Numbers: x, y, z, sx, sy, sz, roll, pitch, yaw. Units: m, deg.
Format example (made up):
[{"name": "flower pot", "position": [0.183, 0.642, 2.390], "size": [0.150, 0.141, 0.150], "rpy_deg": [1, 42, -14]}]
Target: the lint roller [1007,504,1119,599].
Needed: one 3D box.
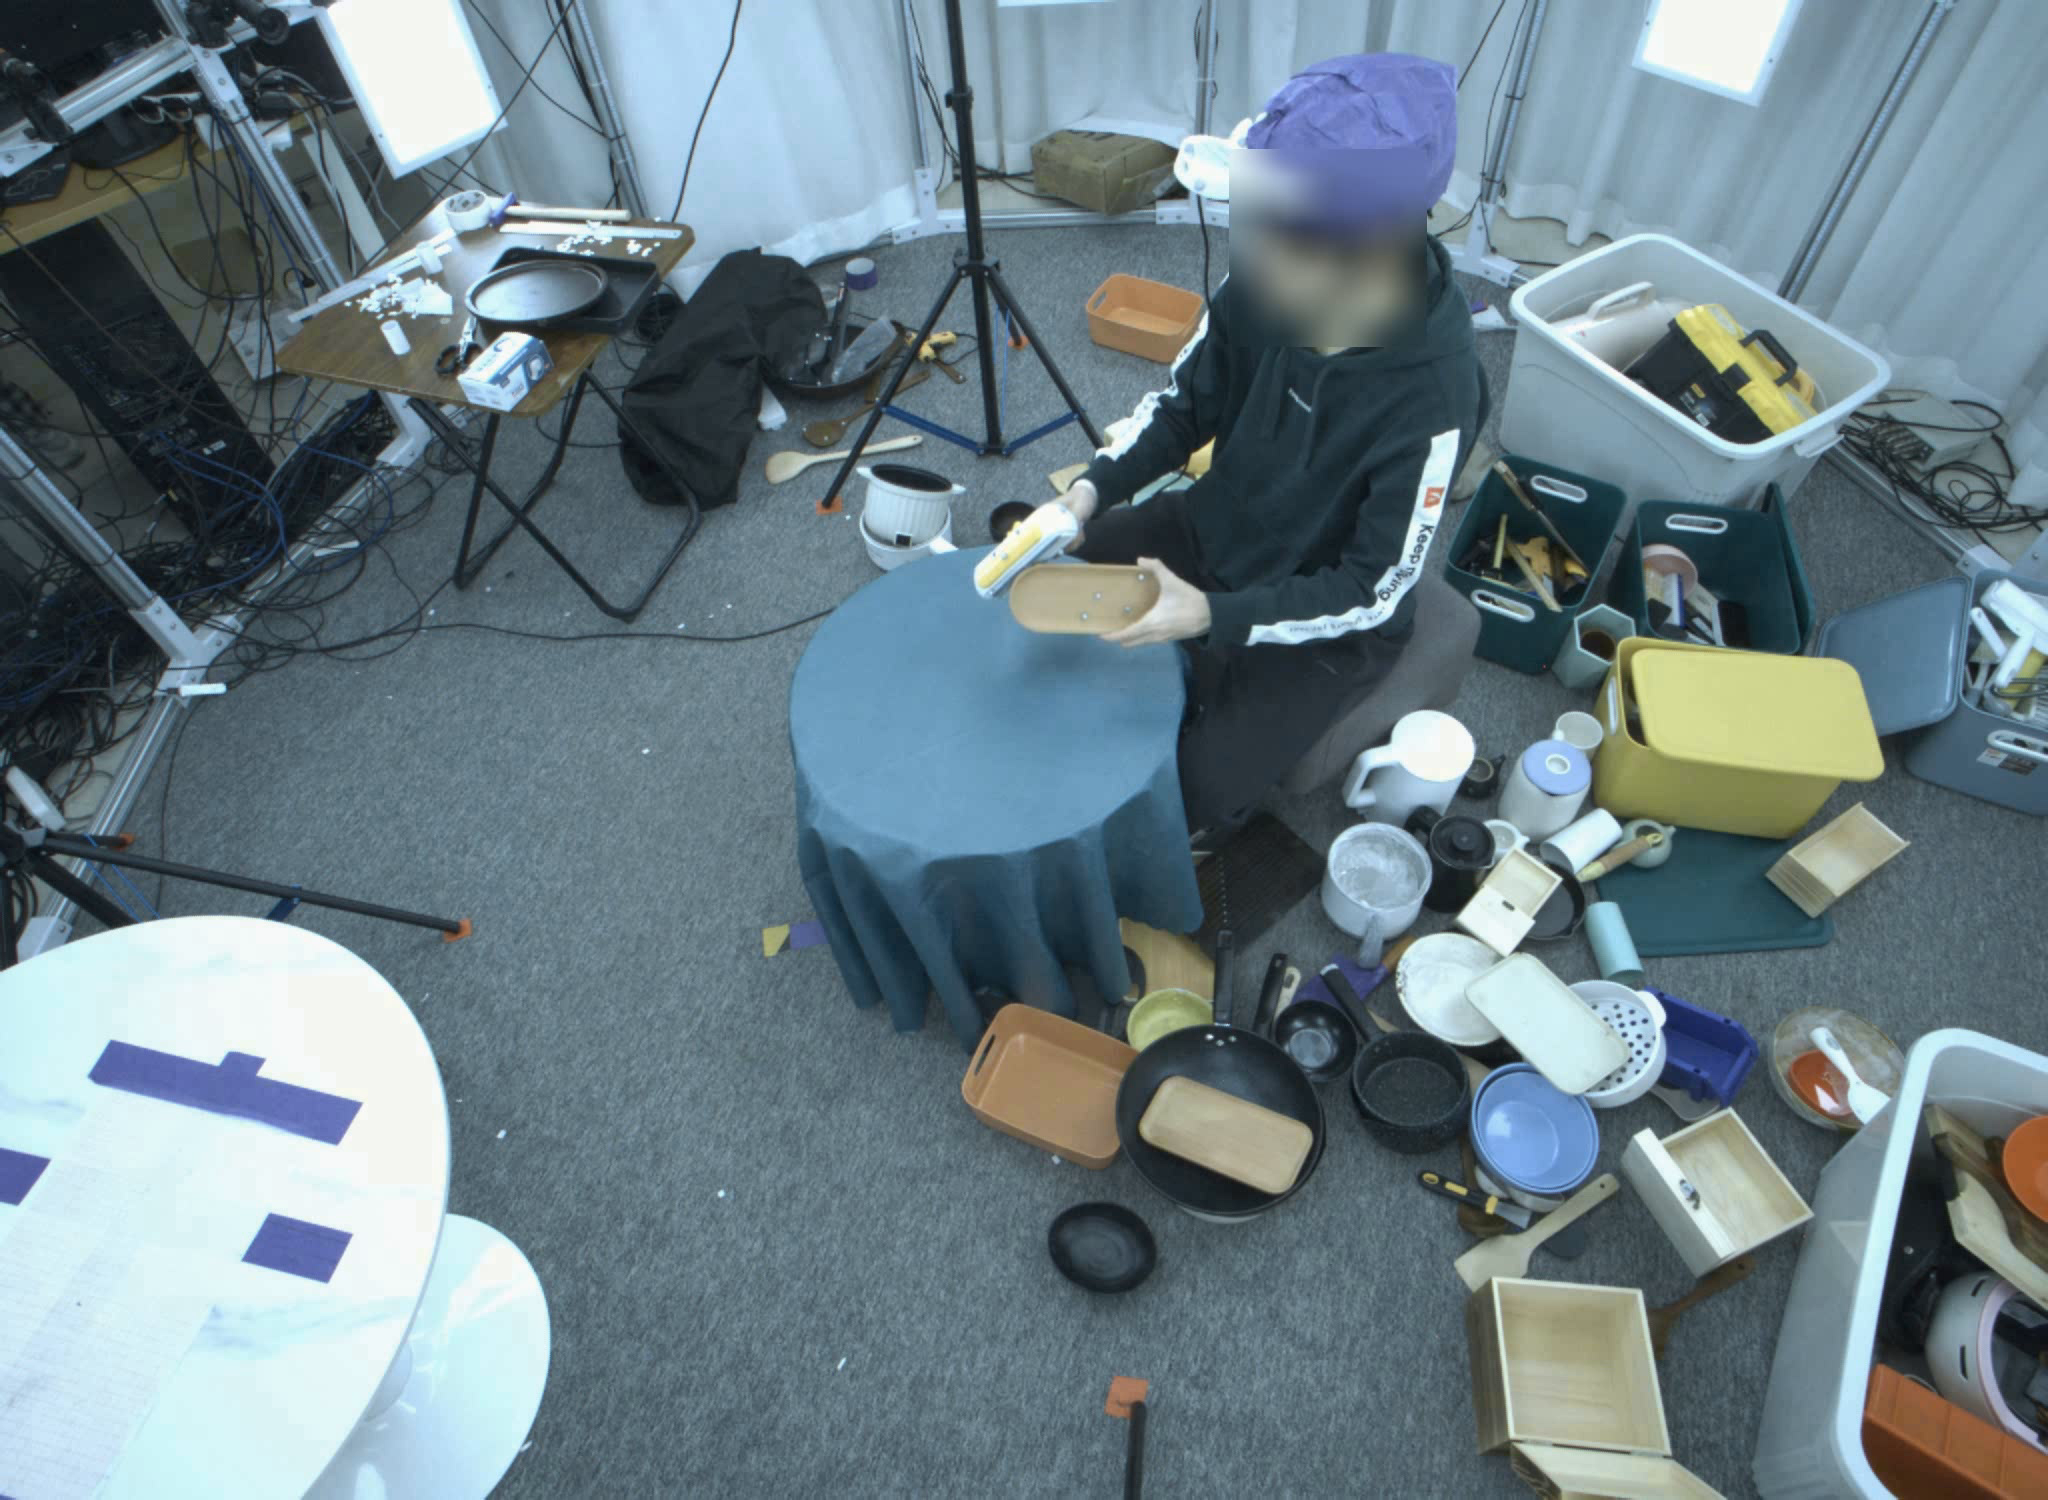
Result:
[{"name": "lint roller", "position": [0.082, -0.294, 1.765], "size": [0.195, 0.191, 0.073], "rpy_deg": [-19, 74, -50]}]

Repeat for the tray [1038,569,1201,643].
[{"name": "tray", "position": [0.135, -0.204, 1.738], "size": [0.232, 0.102, 0.020], "rpy_deg": [2, 21, -6]}]
